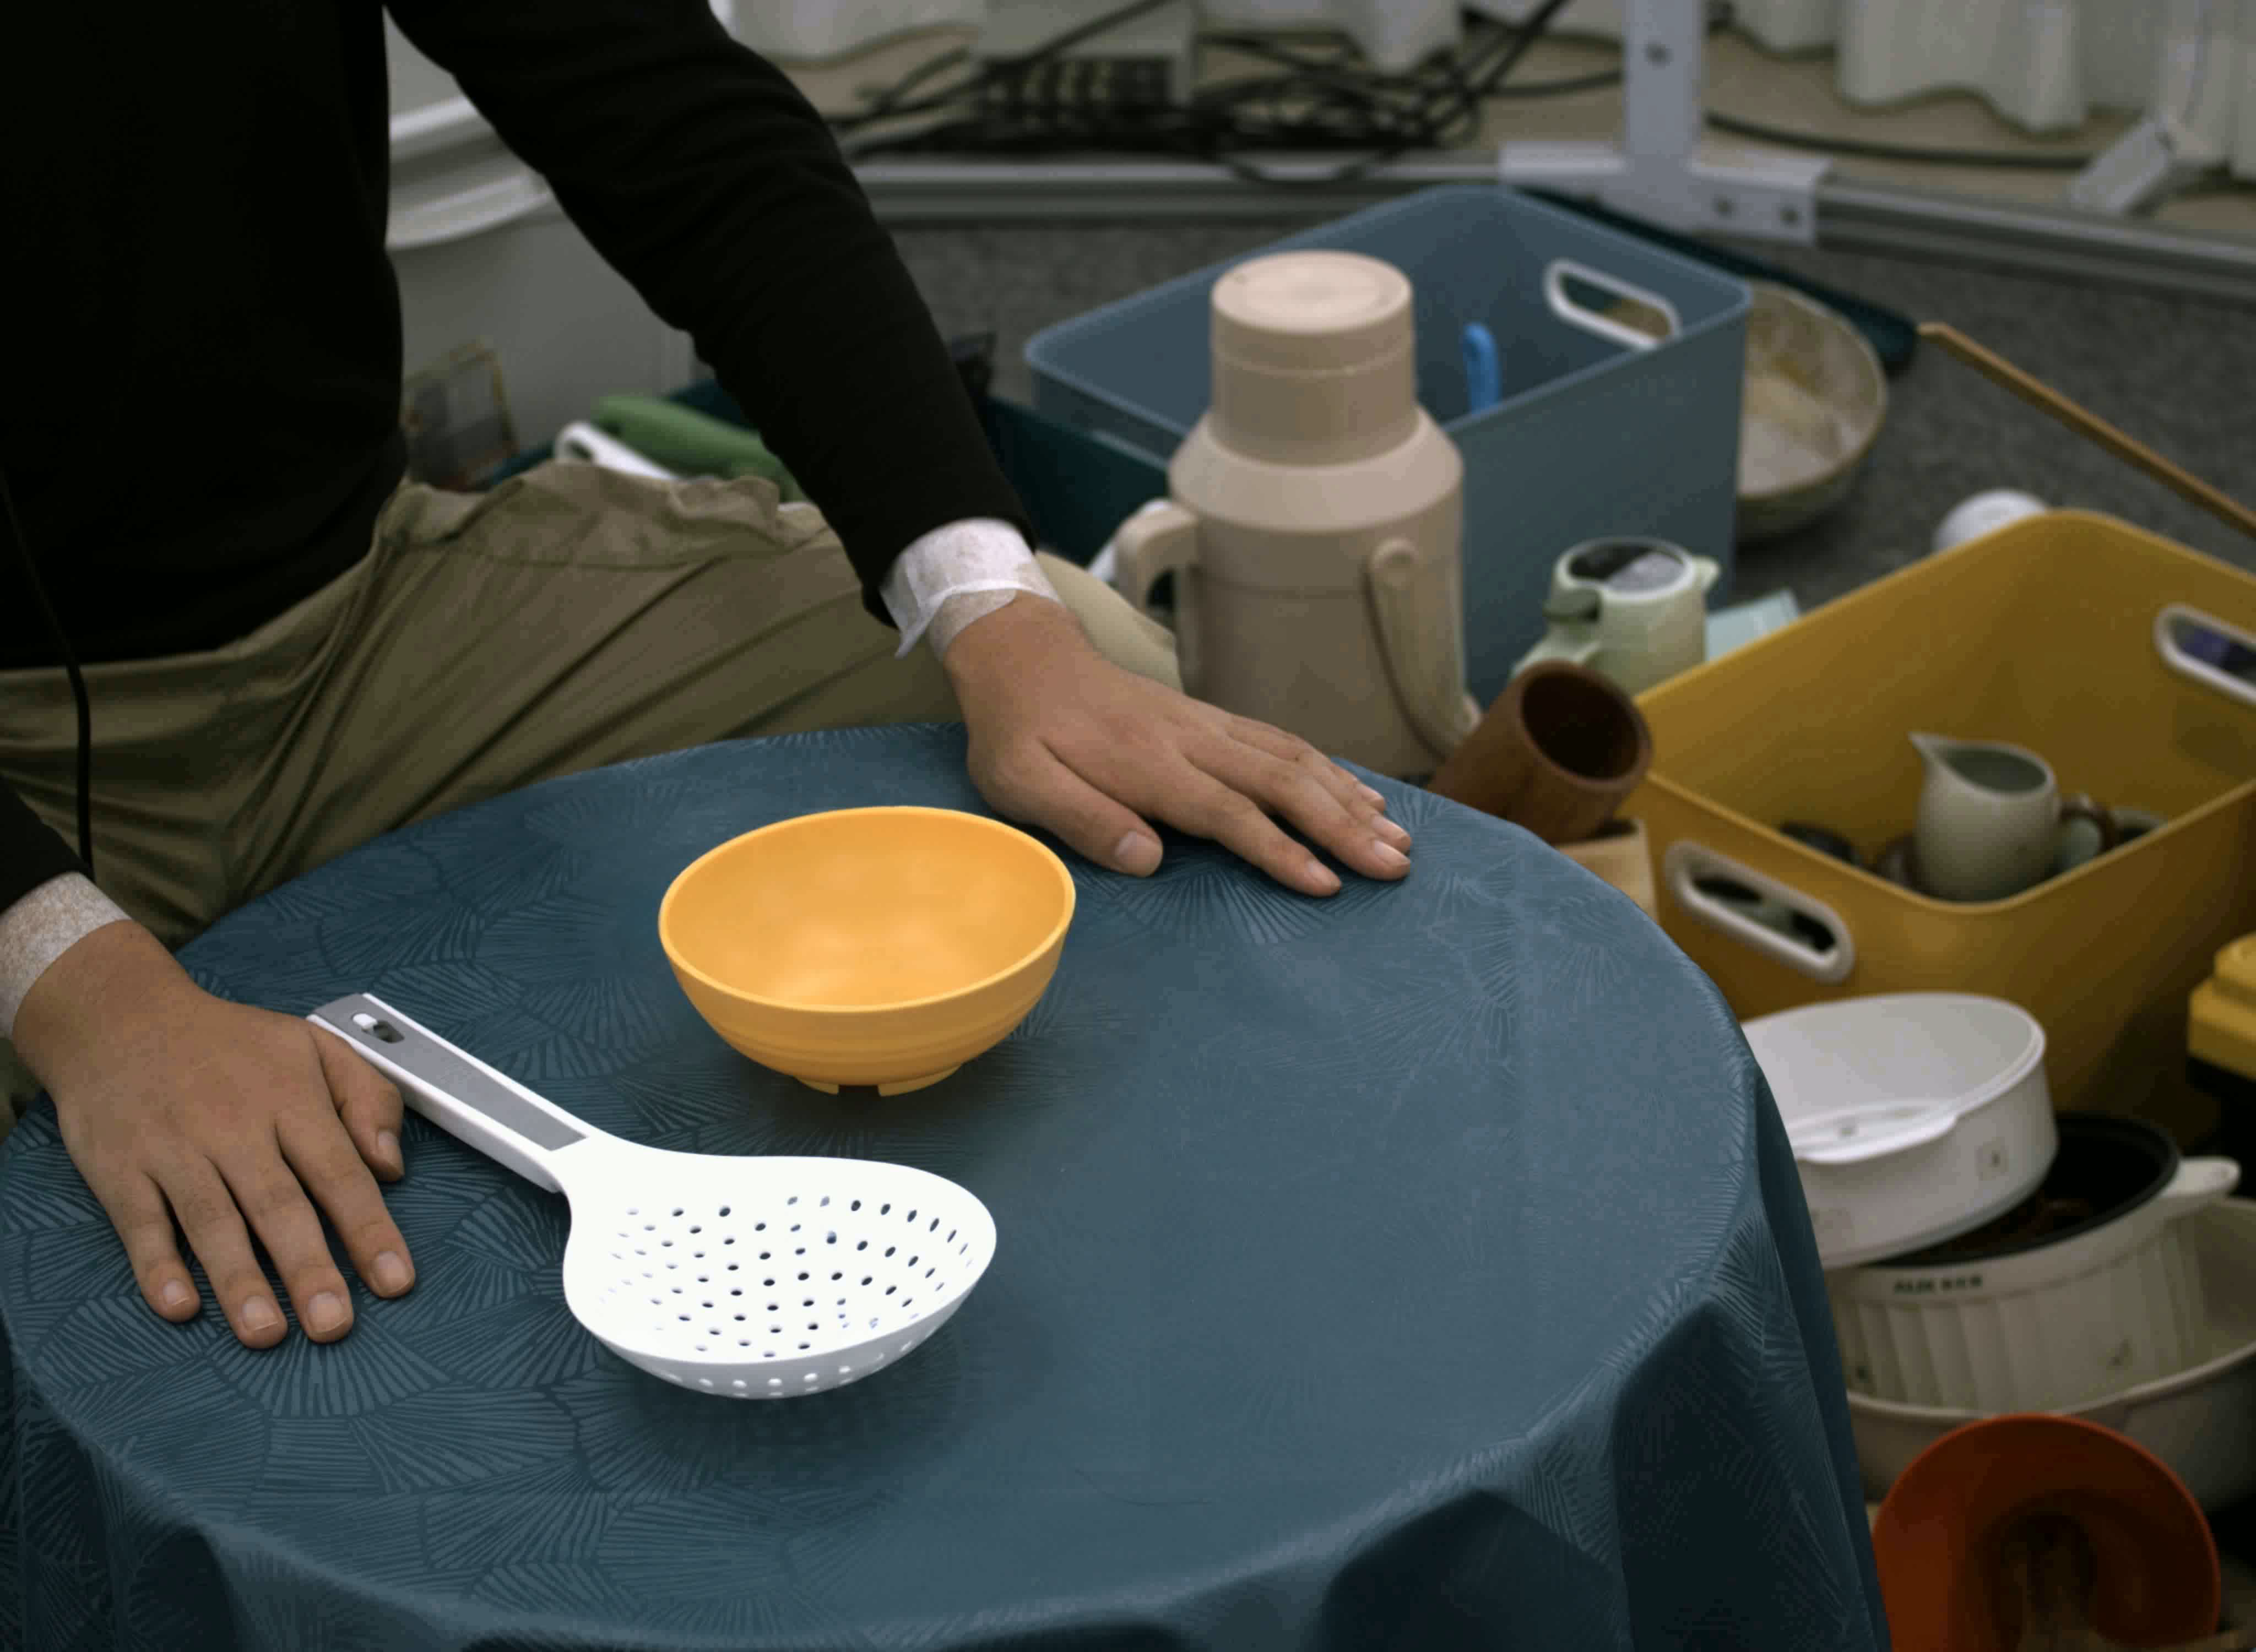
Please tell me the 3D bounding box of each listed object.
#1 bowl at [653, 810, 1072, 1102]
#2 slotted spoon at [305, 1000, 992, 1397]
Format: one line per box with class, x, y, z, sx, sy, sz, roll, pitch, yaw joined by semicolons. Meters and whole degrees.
bowl;-0.091;0.054;1.942;0.144;0.059;0.147;0;27;1
slotted spoon;-0.174;0.115;1.843;0.137;0.045;0.350;-21;31;-32
